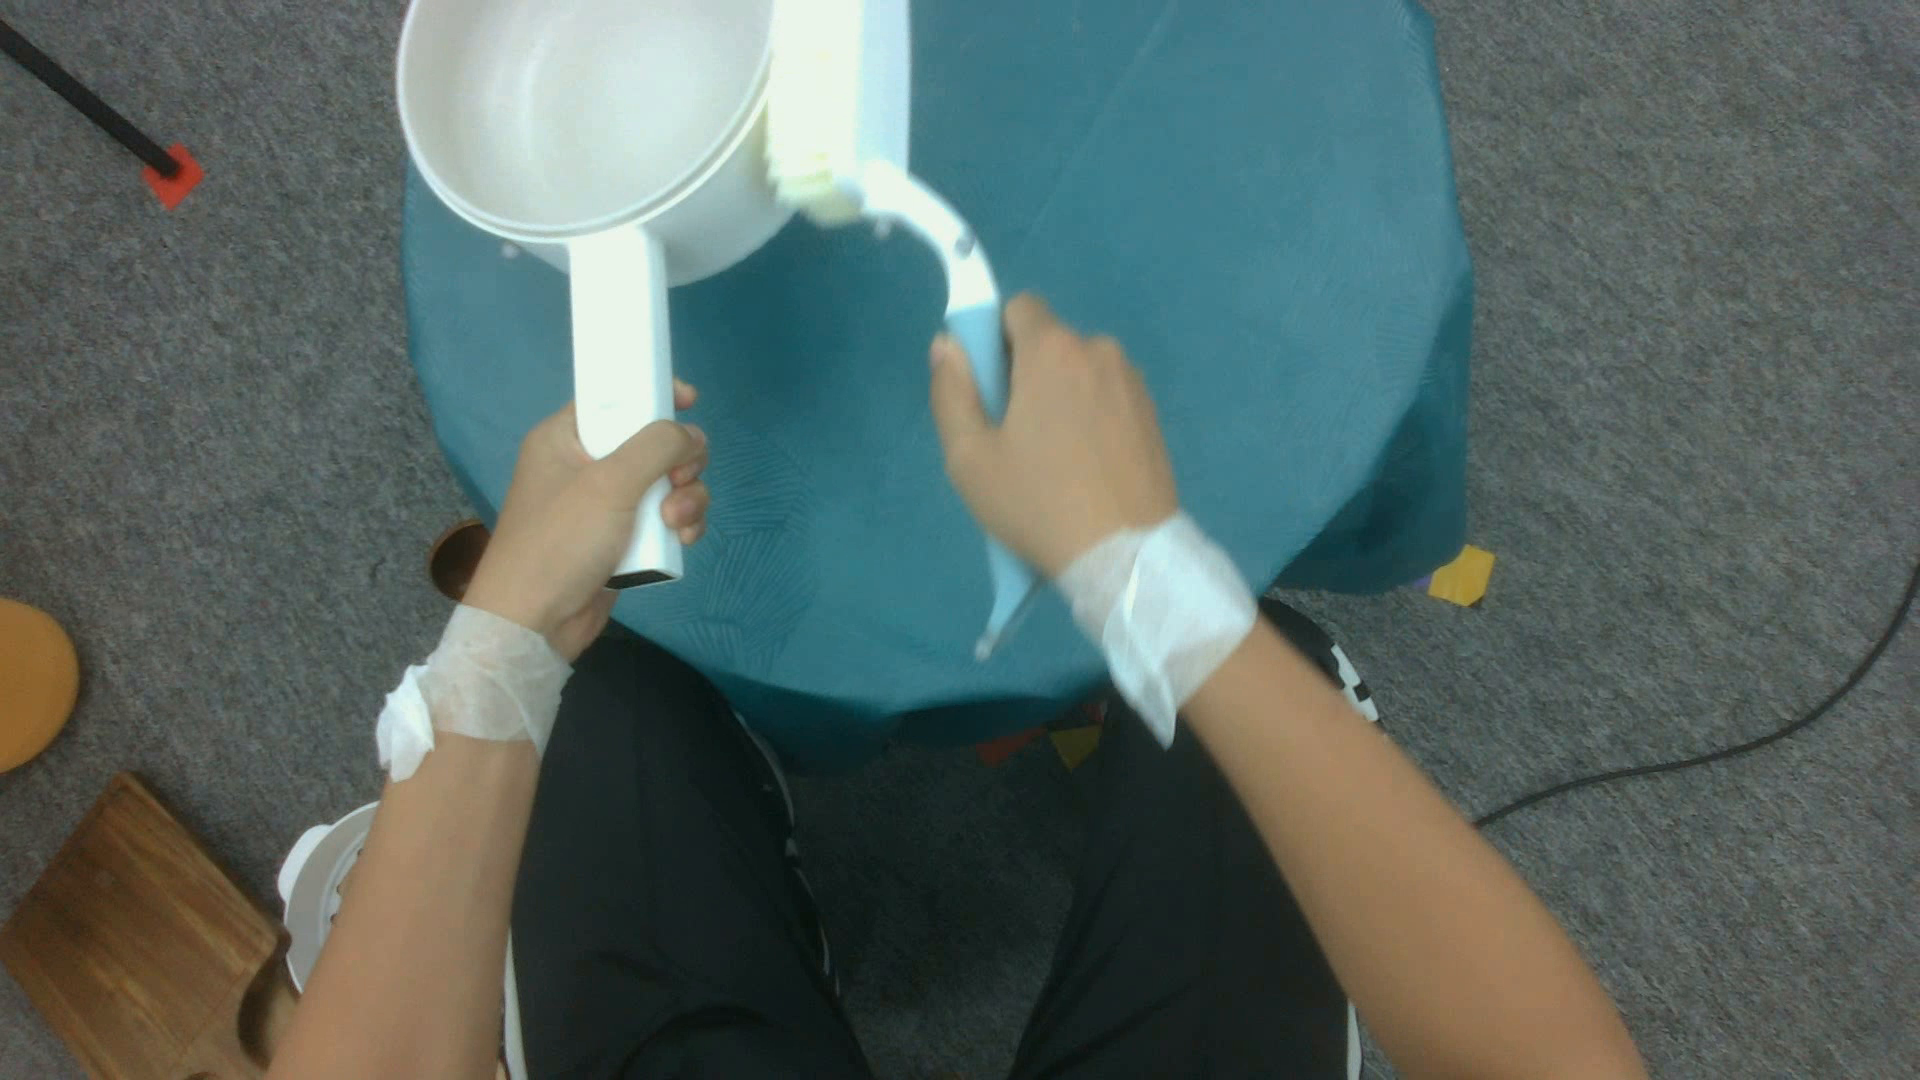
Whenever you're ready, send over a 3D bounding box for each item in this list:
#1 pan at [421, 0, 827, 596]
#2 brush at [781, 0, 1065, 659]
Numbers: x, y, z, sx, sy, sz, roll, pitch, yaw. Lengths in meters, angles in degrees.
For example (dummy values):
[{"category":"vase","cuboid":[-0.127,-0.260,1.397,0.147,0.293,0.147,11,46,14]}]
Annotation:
[{"category":"pan","cuboid":[-0.146,-0.146,0.676,0.201,0.102,0.355,-10,77,14]},{"category":"brush","cuboid":[-0.032,-0.101,0.615,0.083,0.084,0.326,-5,79,-34]}]
